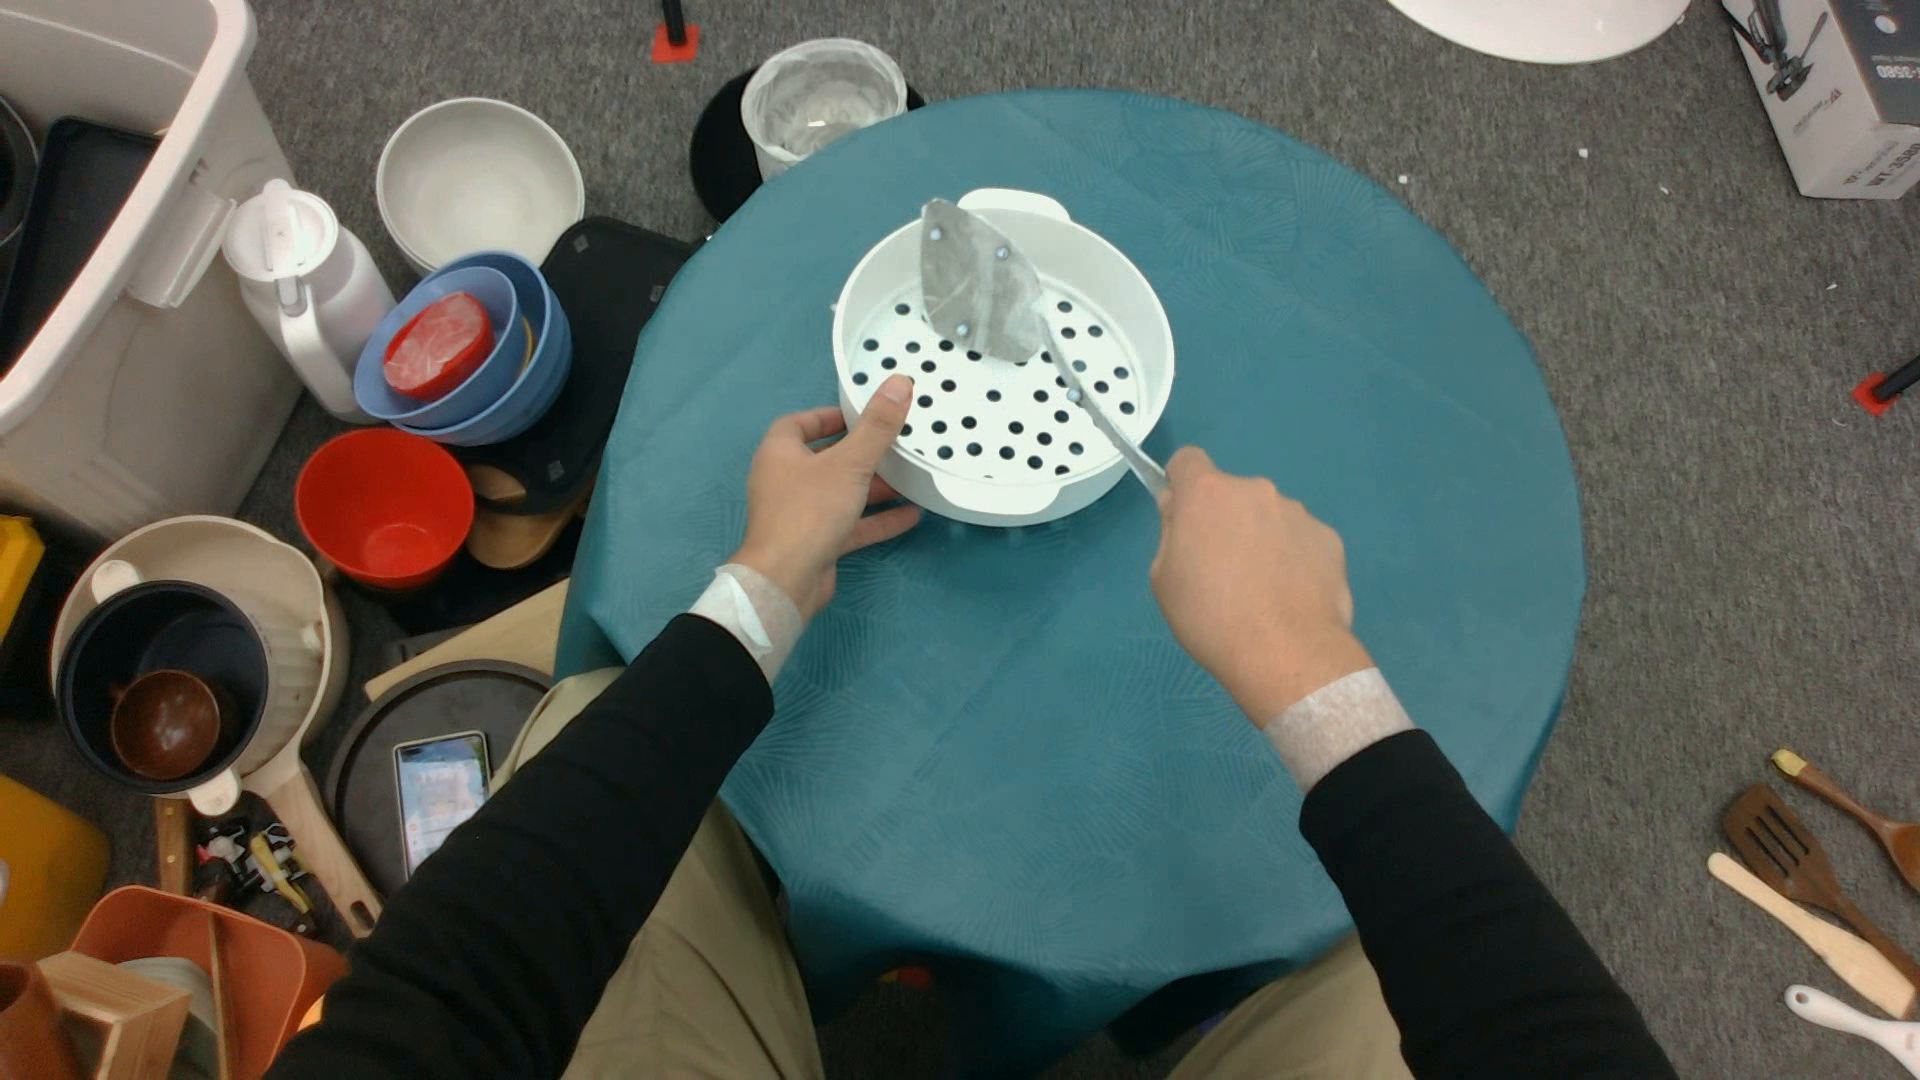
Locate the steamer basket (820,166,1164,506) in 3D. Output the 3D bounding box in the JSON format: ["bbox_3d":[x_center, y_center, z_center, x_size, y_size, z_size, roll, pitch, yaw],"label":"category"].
[{"bbox_3d":[0.017,-0.116,0.829,0.202,0.069,0.231,6,63,-3],"label":"steamer basket"}]

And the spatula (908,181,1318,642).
[{"bbox_3d":[0.069,-0.073,0.740,0.045,0.098,0.366,-16,48,-21],"label":"spatula"}]
